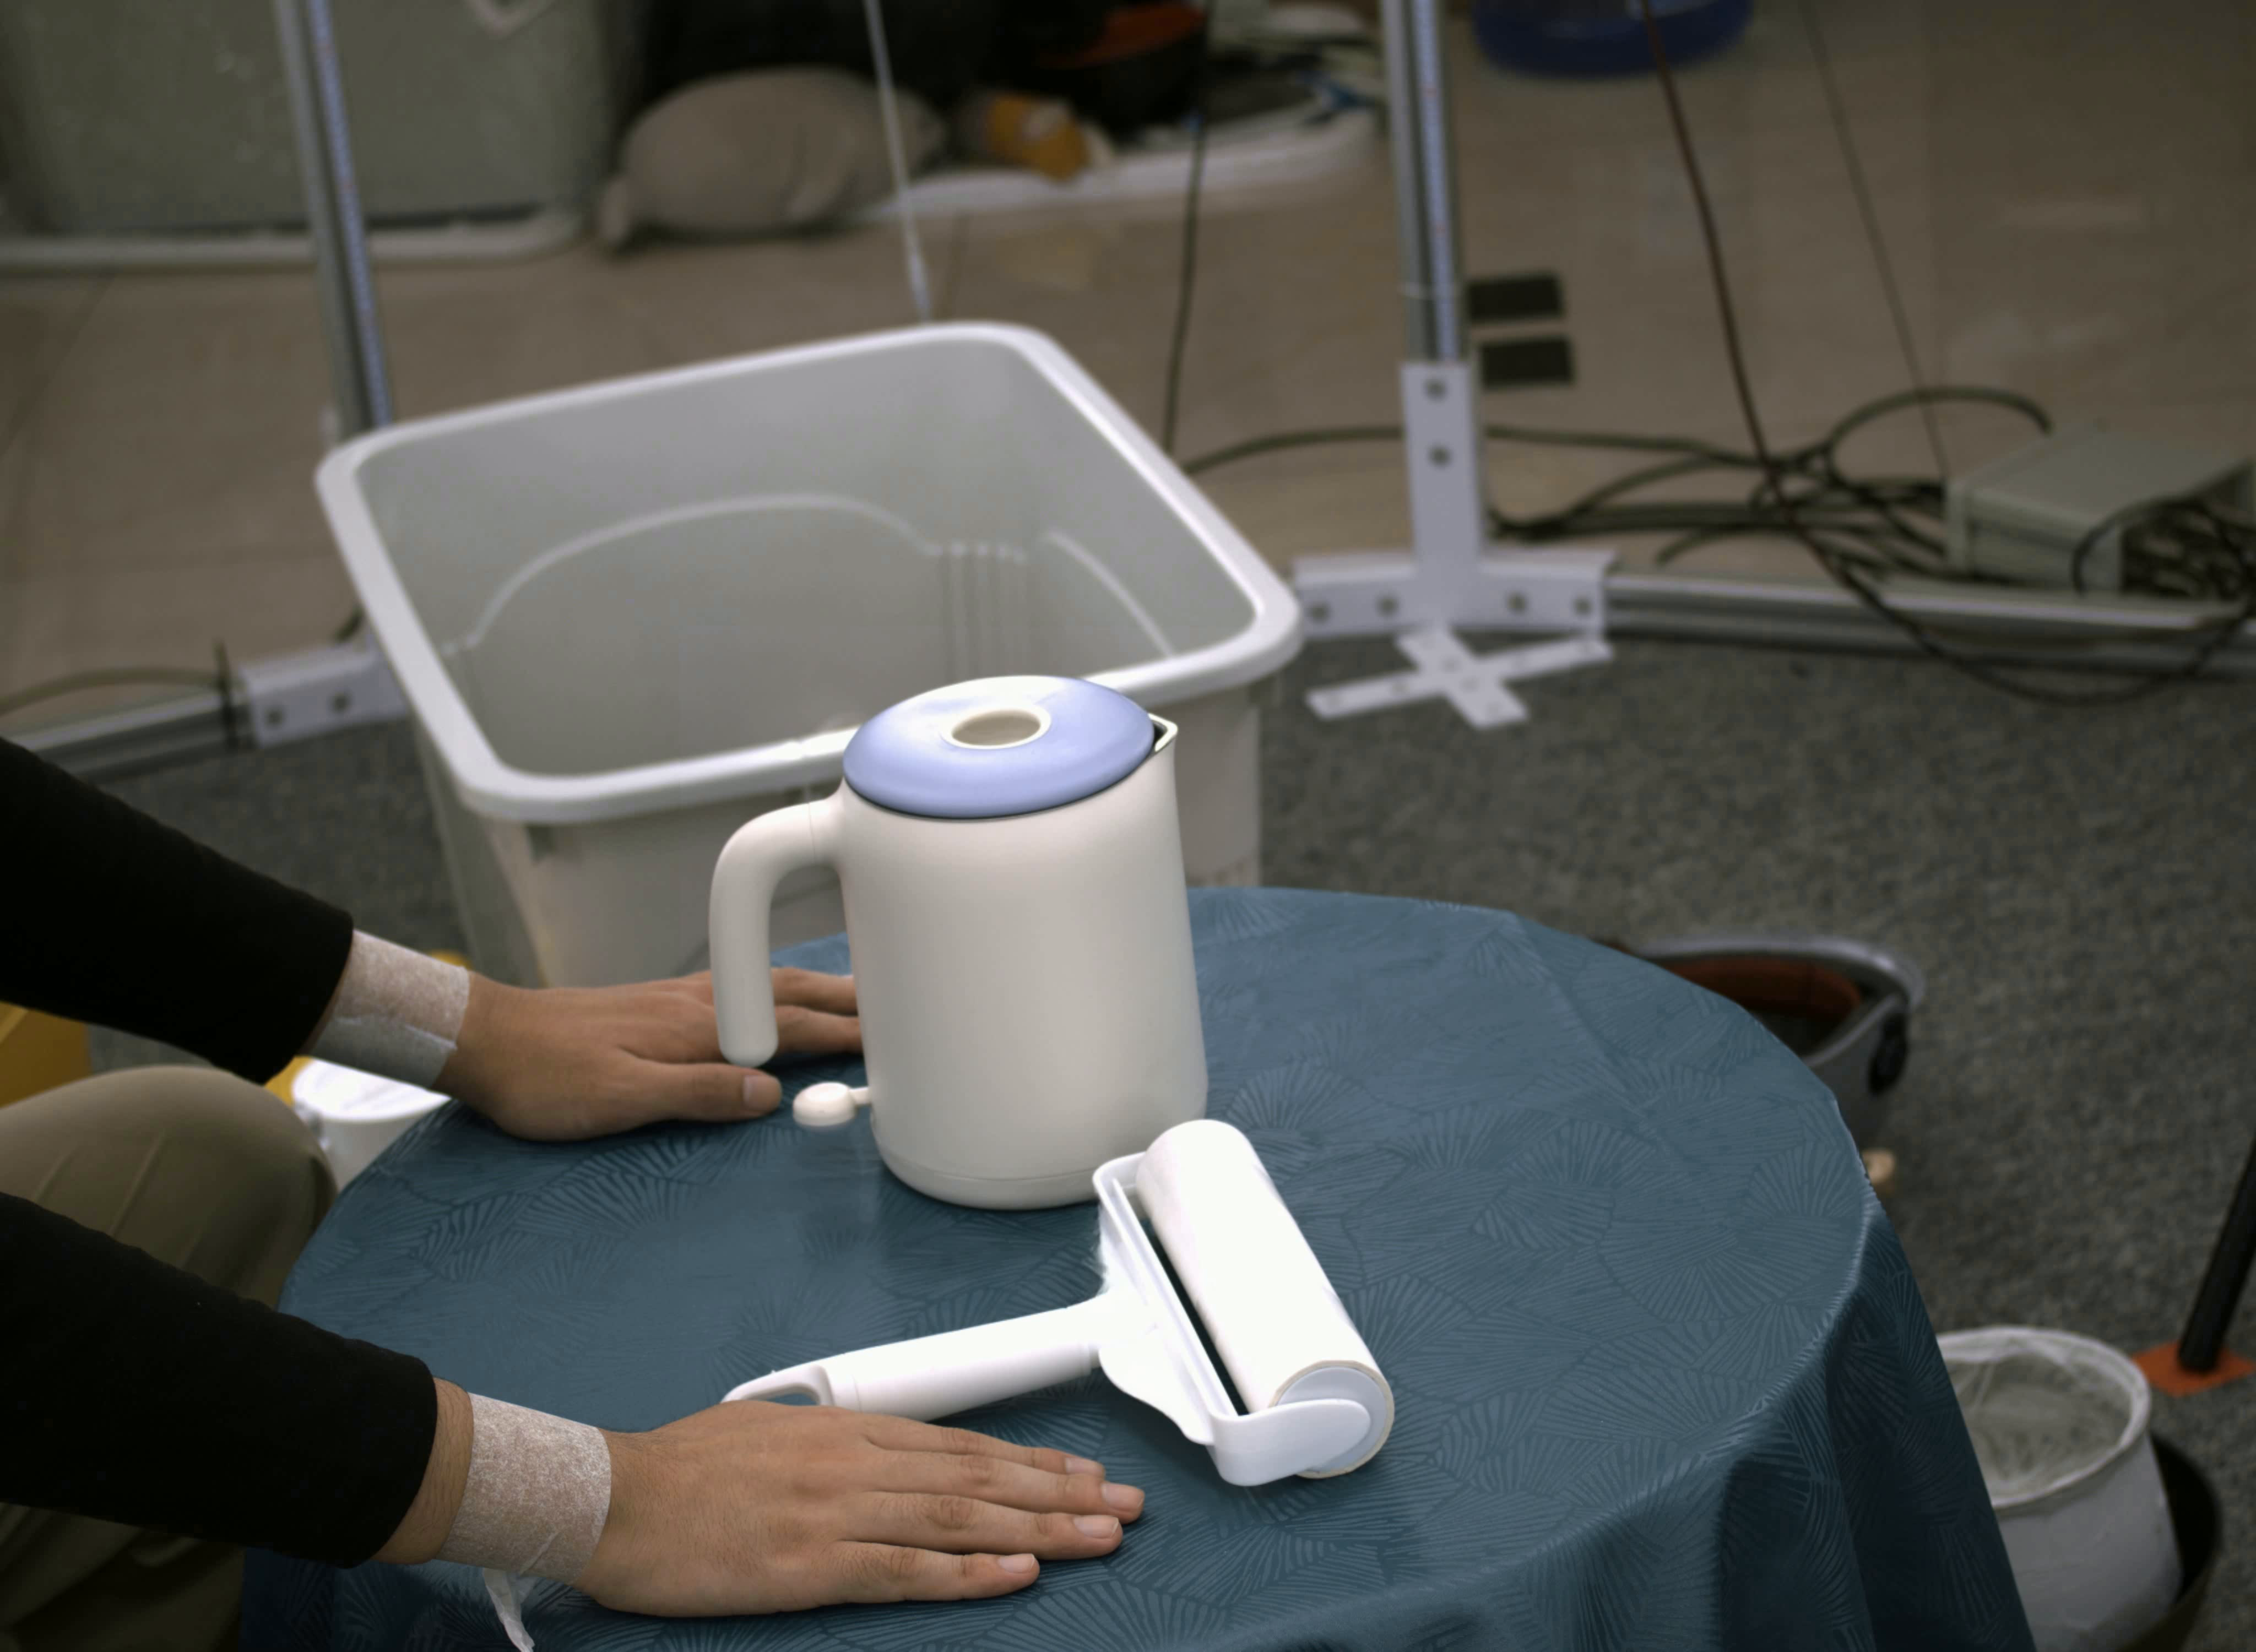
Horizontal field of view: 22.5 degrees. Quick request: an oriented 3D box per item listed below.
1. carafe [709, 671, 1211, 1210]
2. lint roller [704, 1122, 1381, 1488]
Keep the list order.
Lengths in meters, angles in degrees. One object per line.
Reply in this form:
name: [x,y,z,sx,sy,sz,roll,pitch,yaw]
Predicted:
carafe: [-0.065,0.047,2.154,0.191,0.185,0.130,-11,25,-4]
lint roller: [-0.041,0.186,2.007,0.225,0.049,0.200,-12,27,-10]
